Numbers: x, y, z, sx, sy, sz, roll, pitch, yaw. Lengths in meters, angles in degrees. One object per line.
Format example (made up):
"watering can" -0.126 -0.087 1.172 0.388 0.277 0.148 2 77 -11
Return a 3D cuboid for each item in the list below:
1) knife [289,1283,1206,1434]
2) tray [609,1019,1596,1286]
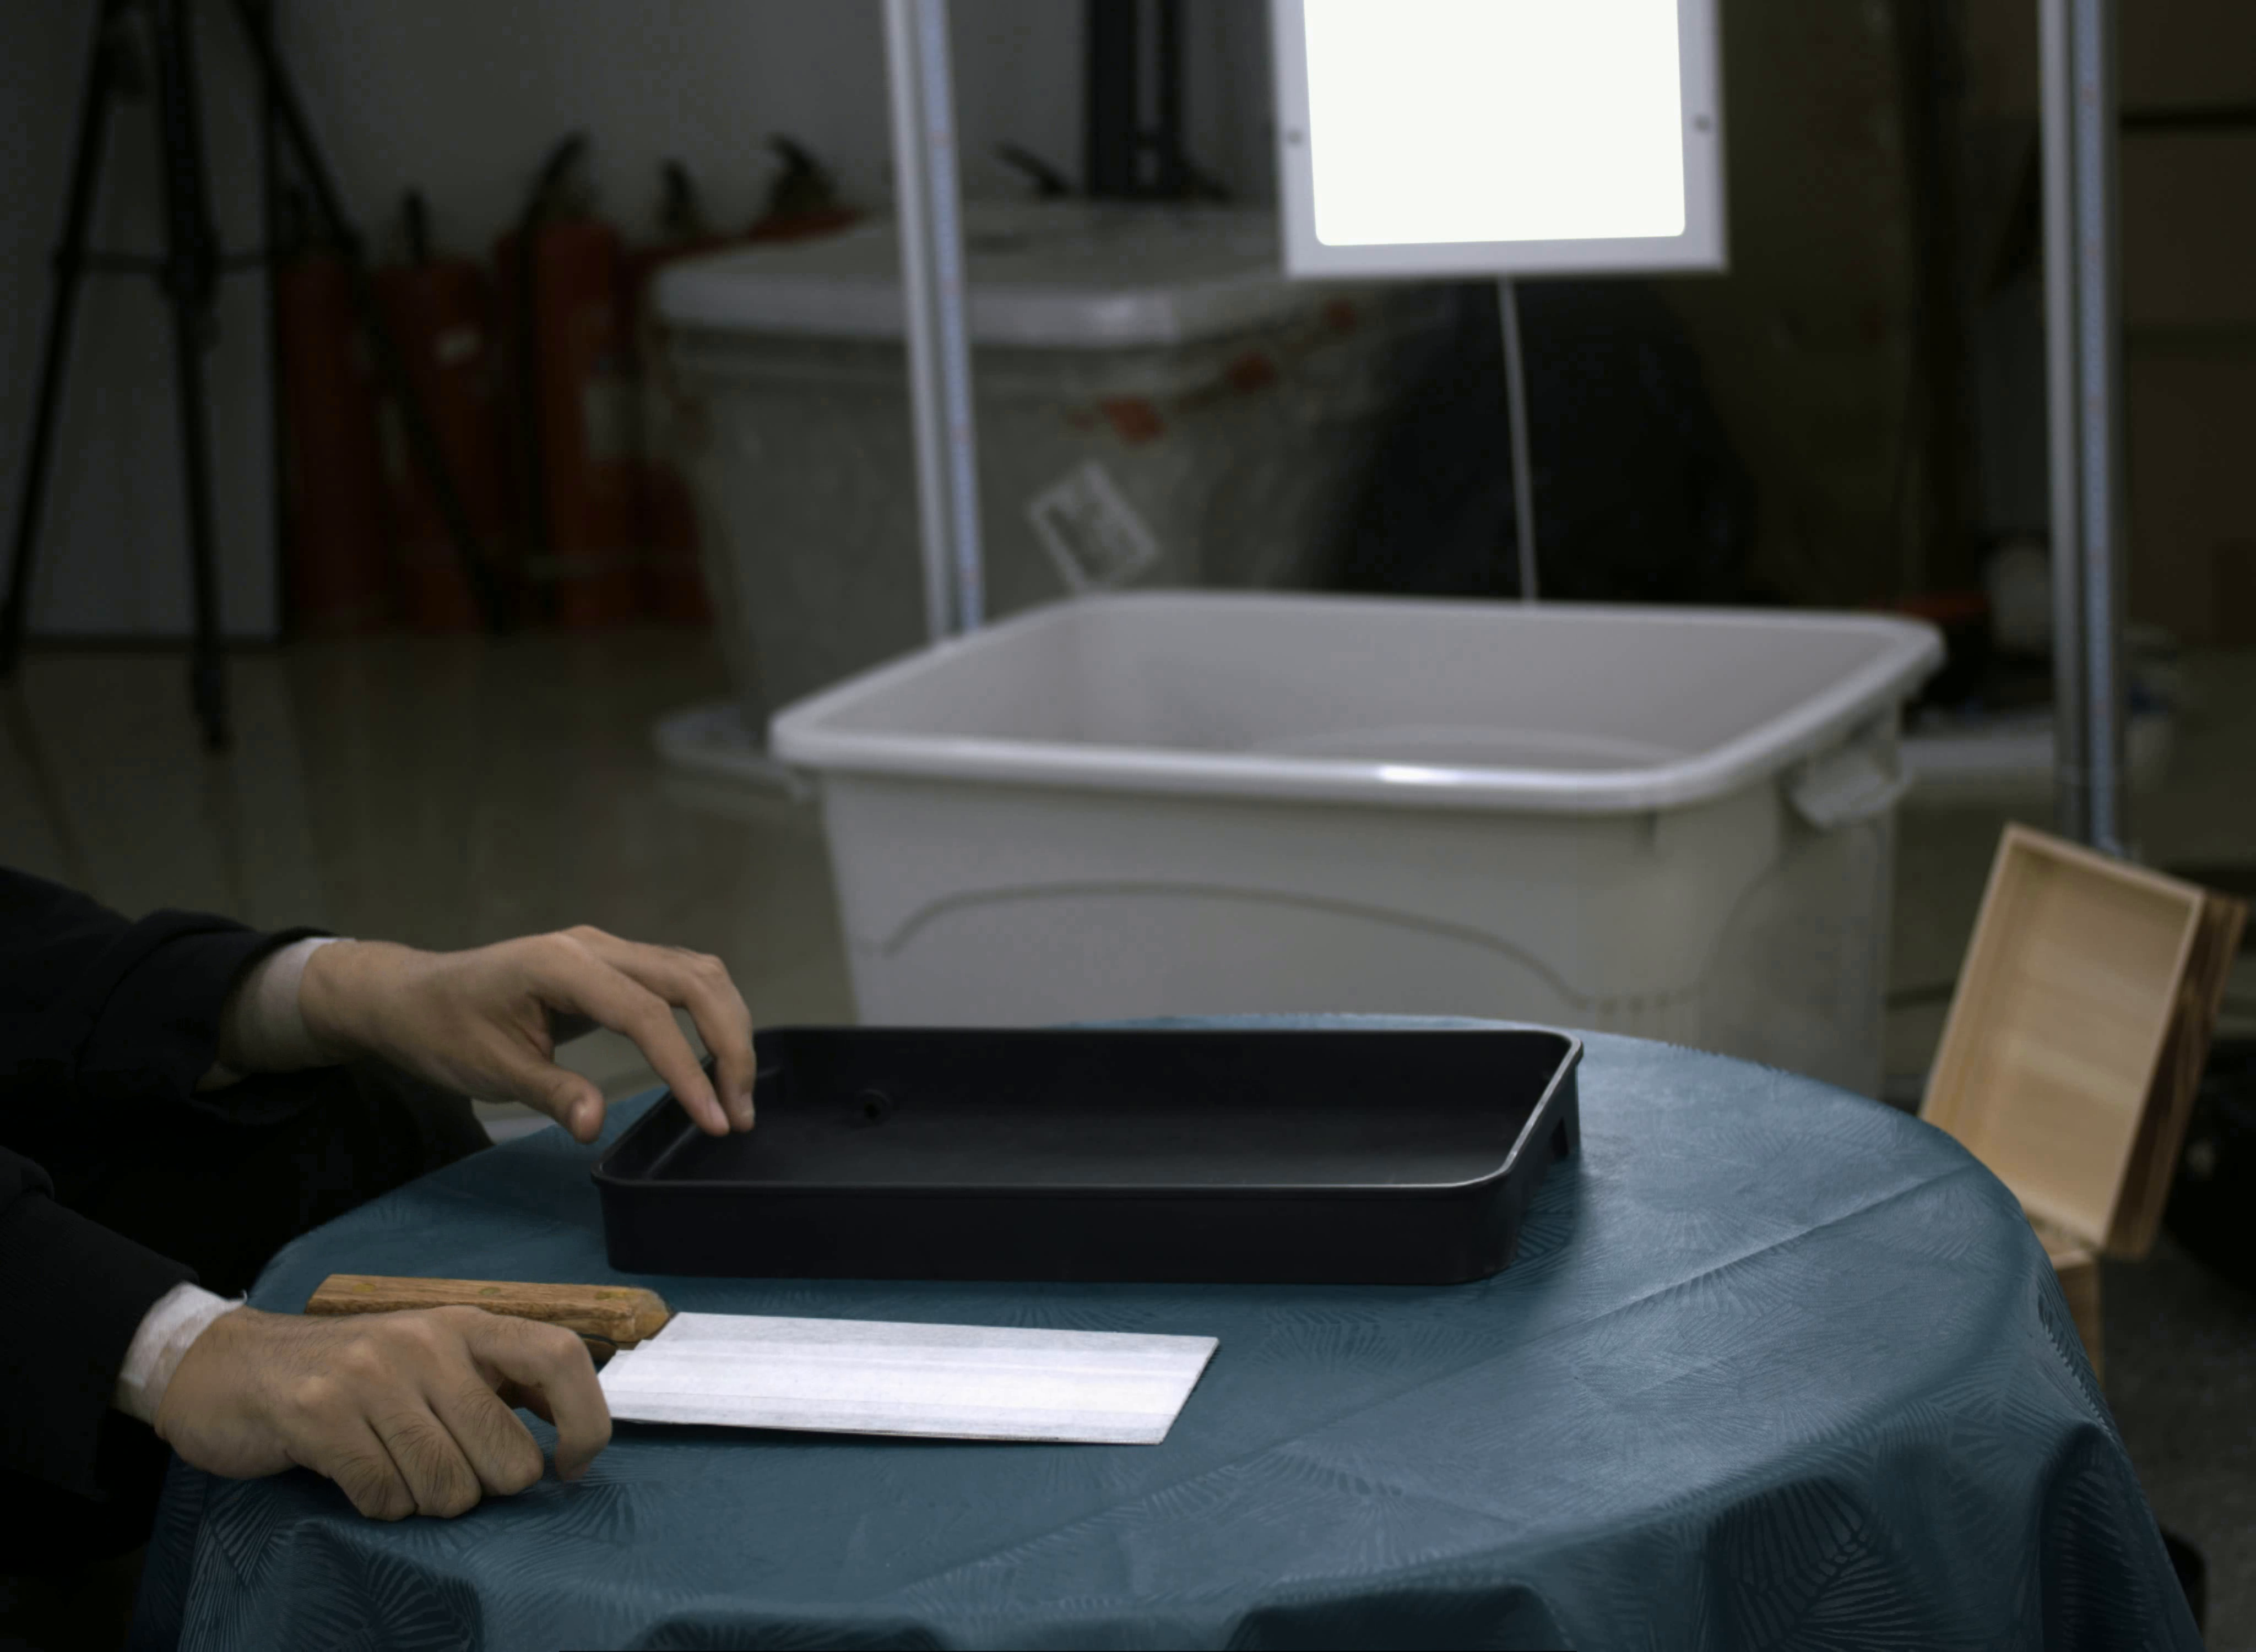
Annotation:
"knife" -0.128 0.170 1.735 0.308 0.021 0.091 1 17 15
"tray" -0.004 0.111 1.888 0.321 0.037 0.182 -2 15 15
